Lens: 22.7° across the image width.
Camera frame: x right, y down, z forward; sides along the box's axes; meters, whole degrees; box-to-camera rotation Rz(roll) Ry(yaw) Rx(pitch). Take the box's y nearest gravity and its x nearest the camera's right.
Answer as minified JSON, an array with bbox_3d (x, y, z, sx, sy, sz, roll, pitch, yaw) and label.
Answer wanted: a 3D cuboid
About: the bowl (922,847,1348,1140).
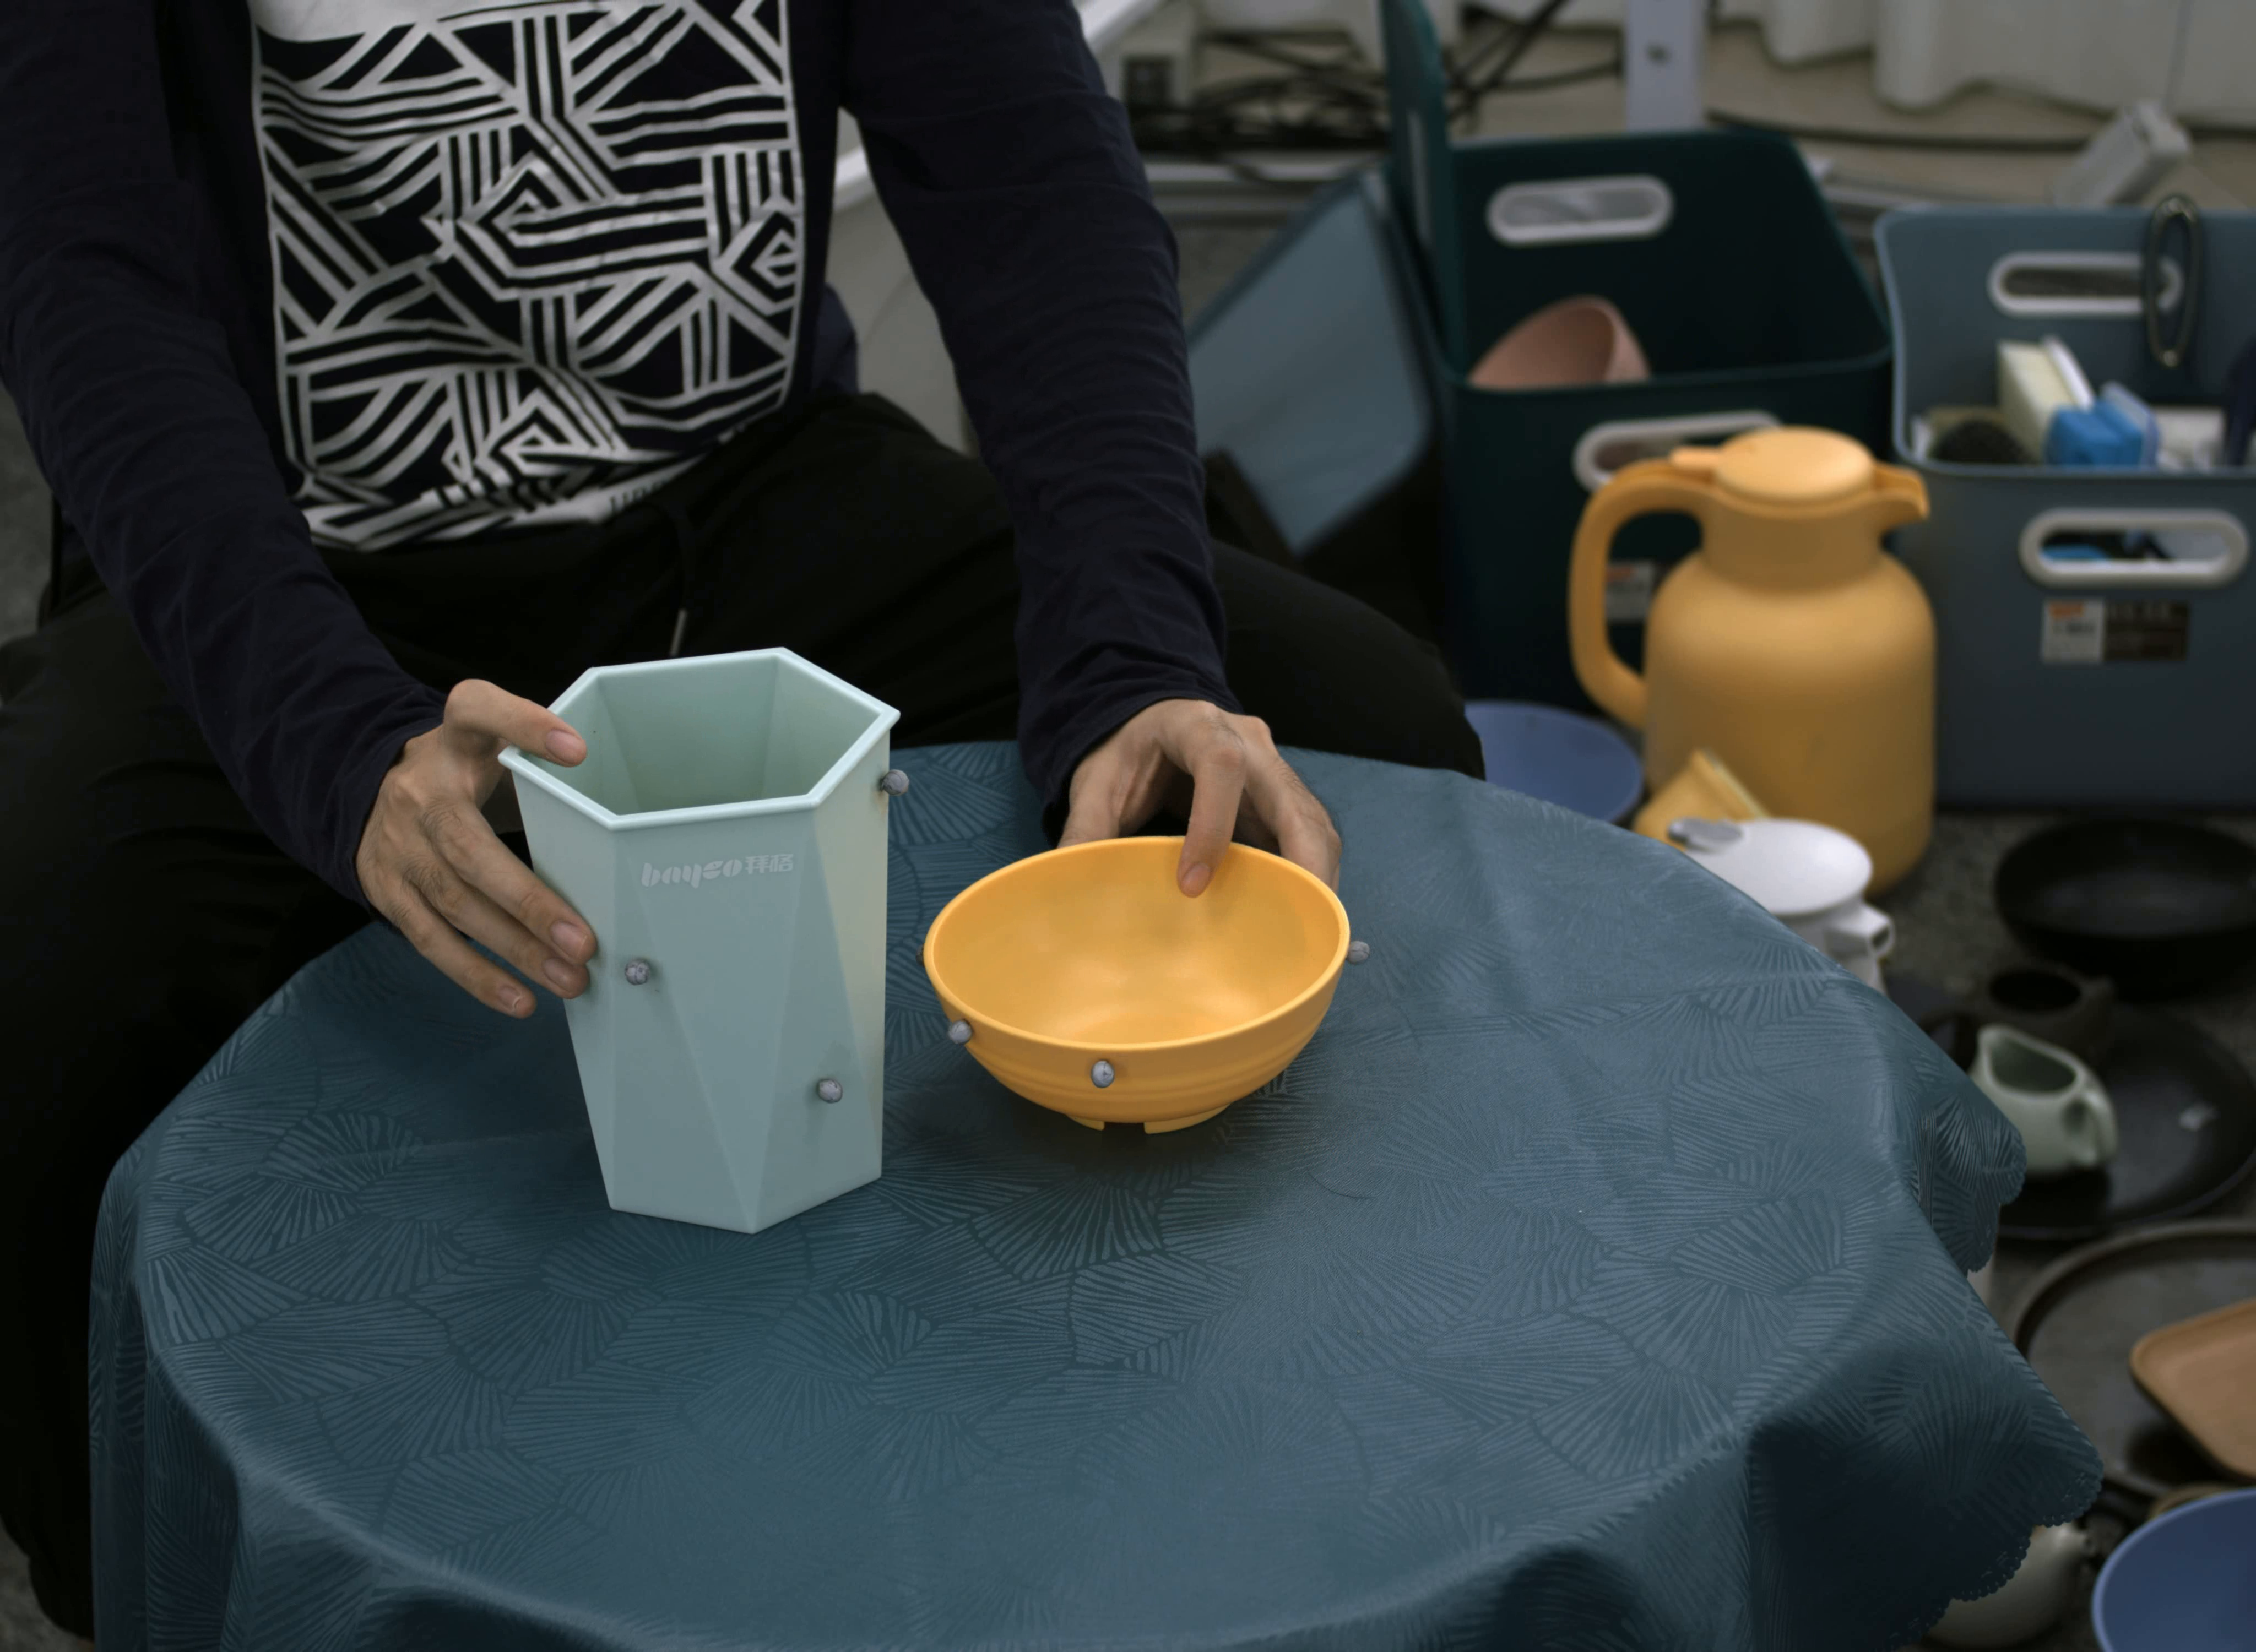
[{"bbox_3d":[0.003,0.066,1.910,0.144,0.059,0.147,-2,26,1],"label":"bowl"}]

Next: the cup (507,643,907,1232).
[{"bbox_3d":[-0.133,0.039,1.855,0.131,0.161,0.116,-6,25,-8],"label":"cup"}]
